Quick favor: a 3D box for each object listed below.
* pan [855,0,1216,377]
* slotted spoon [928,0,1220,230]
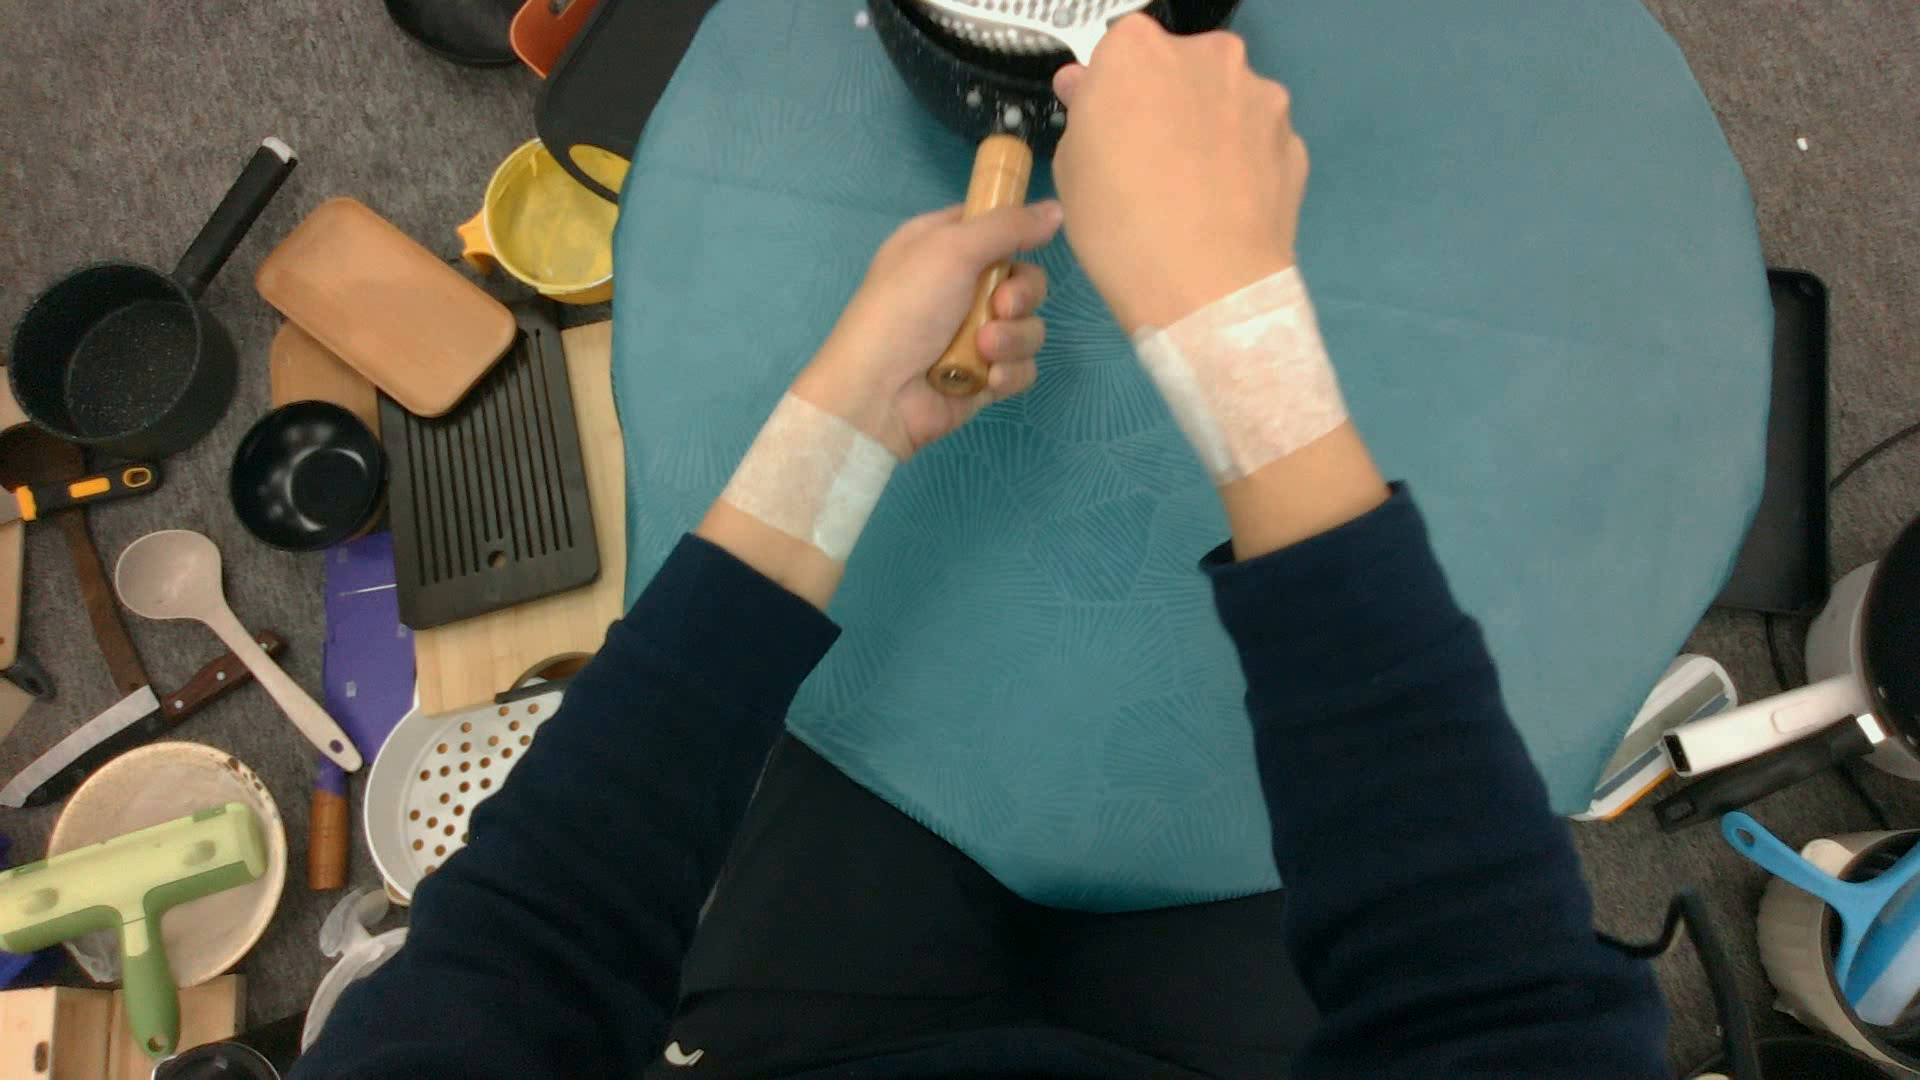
[{"bbox_3d":[0.023,-0.213,0.644,0.207,0.108,0.344,10,71,-1],"label":"pan"},{"bbox_3d":[0.045,-0.221,0.598,0.137,0.050,0.349,-6,34,-7],"label":"slotted spoon"}]
